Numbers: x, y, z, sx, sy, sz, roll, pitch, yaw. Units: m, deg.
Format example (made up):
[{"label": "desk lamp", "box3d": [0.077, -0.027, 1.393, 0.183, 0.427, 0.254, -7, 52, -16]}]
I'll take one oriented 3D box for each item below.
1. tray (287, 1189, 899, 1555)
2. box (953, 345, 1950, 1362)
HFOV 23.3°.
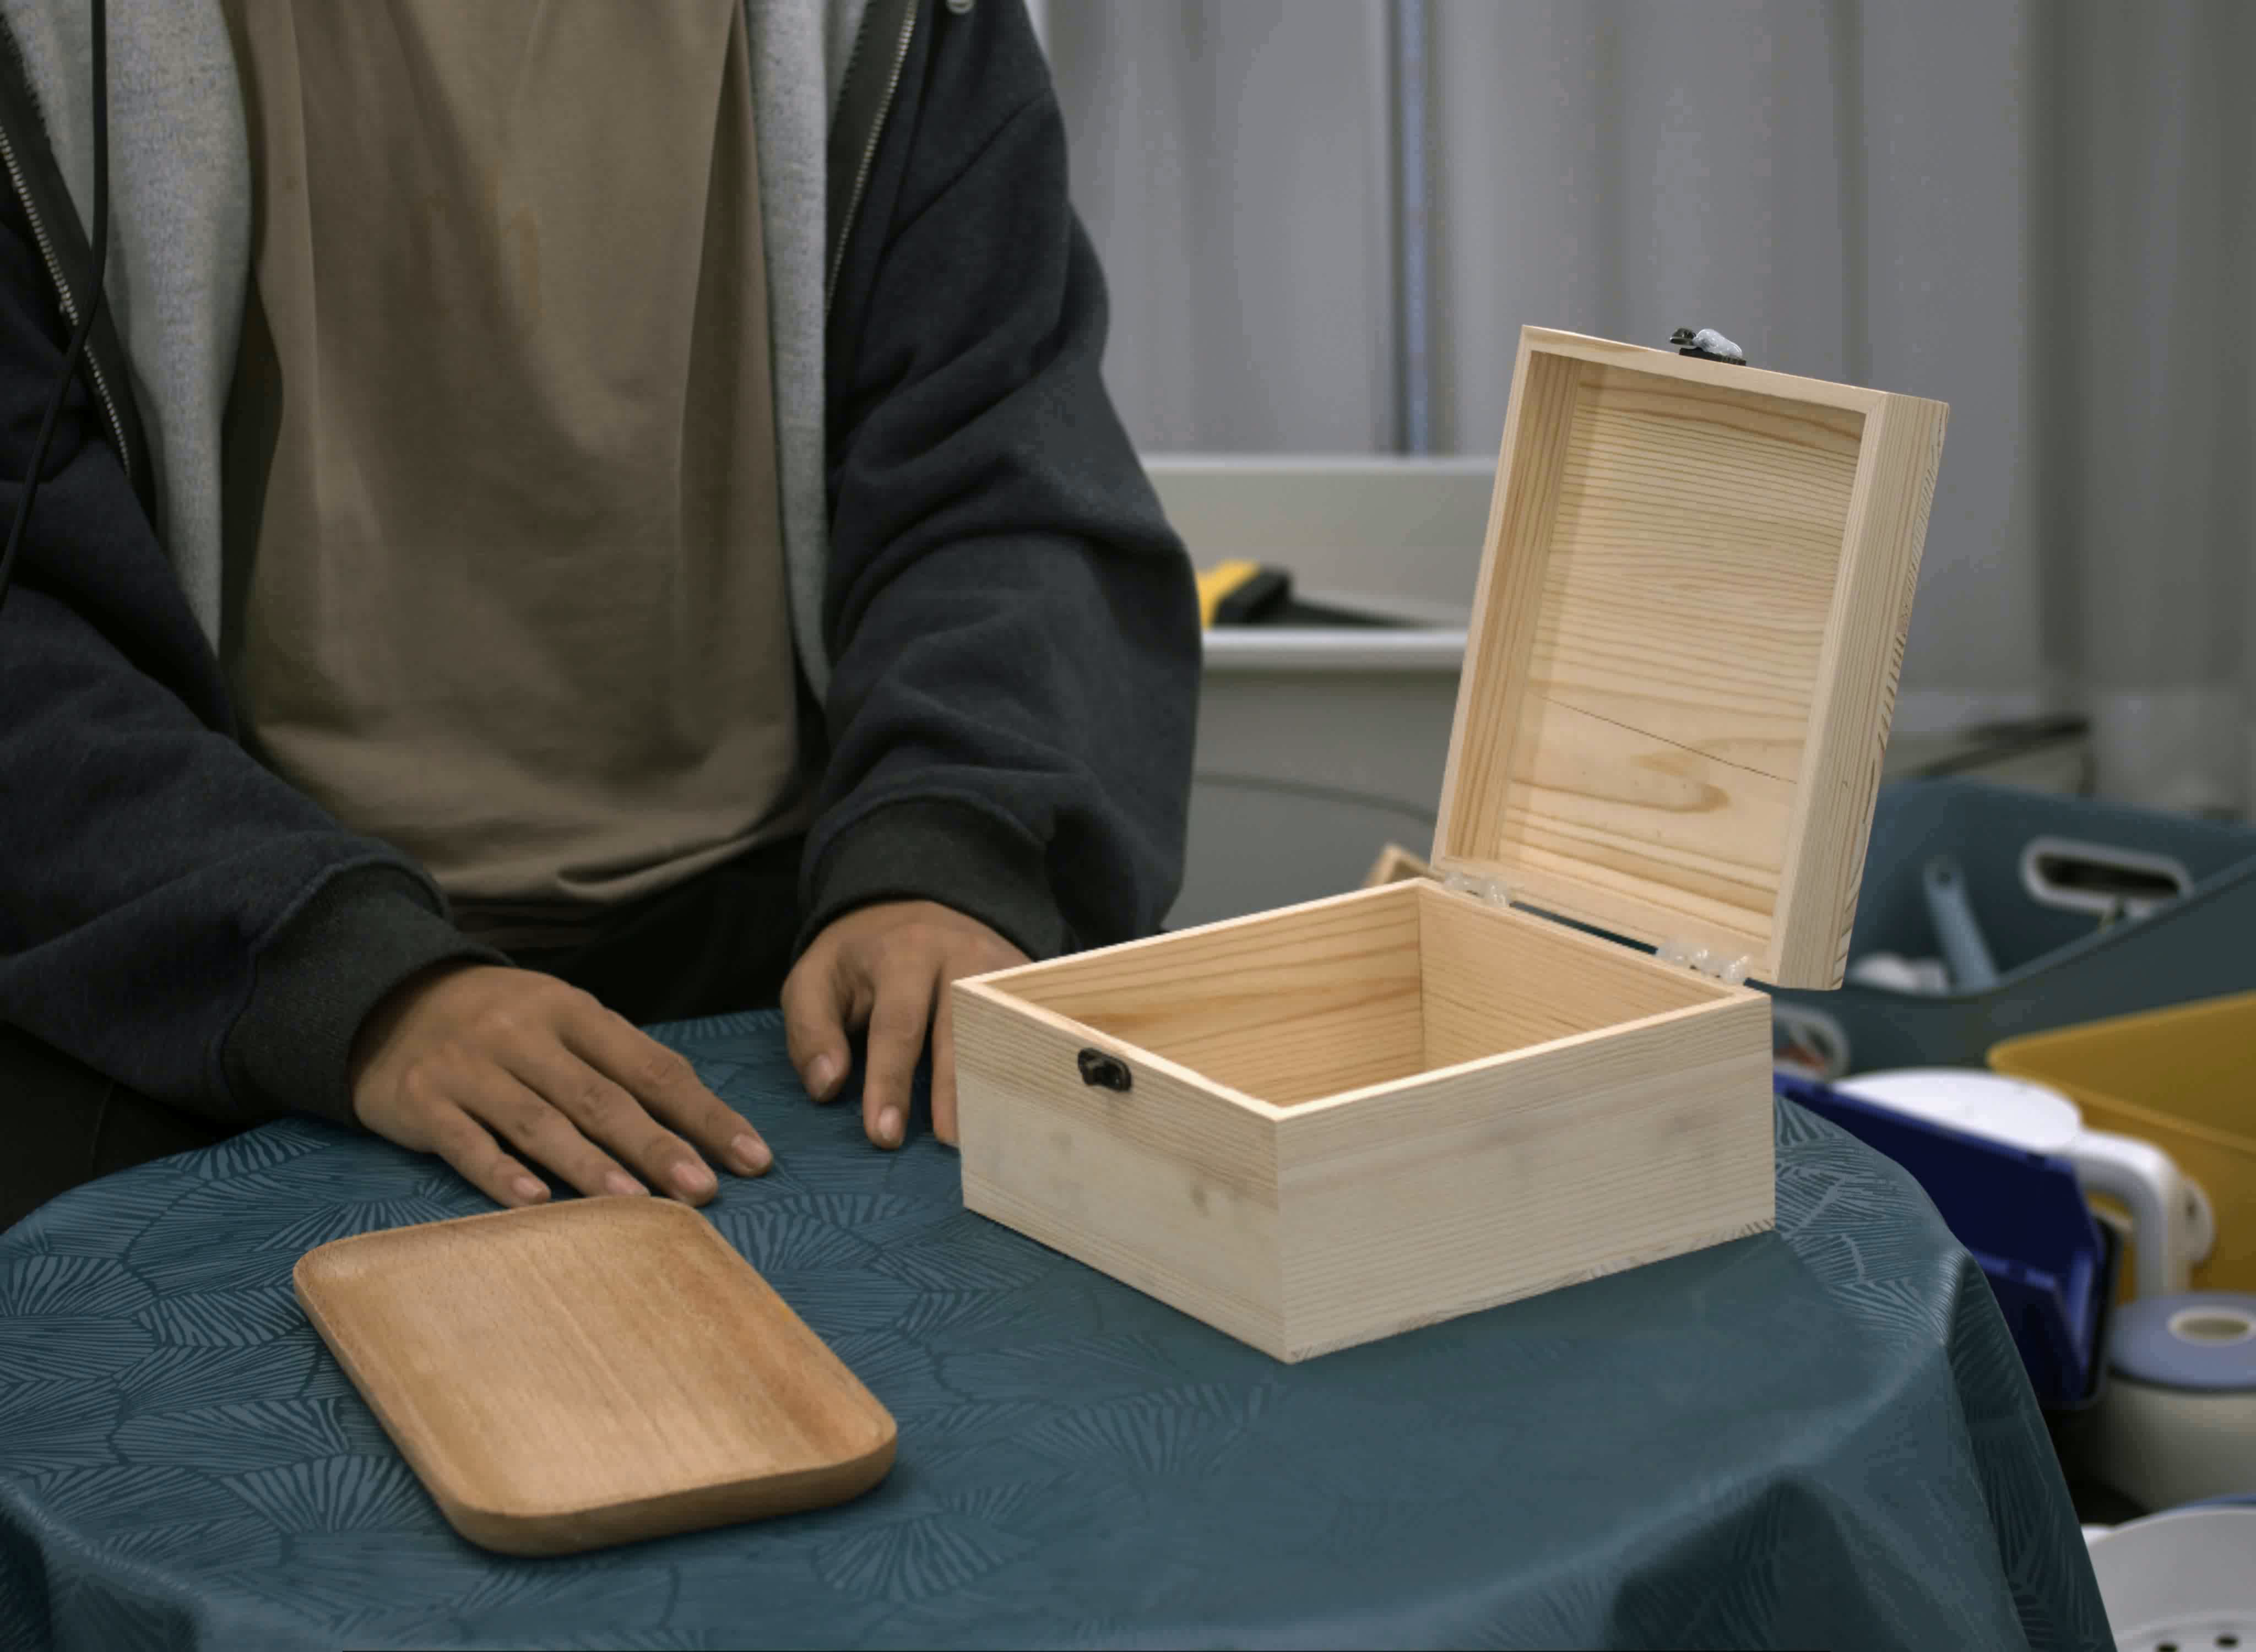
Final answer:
[{"label": "tray", "box3d": [-0.157, 0.153, 1.566, 0.130, 0.023, 0.252, -5, 14, -19]}, {"label": "box", "box3d": [0.095, -0.003, 1.670, 0.264, 0.252, 0.183, -10, 13, -32]}]
